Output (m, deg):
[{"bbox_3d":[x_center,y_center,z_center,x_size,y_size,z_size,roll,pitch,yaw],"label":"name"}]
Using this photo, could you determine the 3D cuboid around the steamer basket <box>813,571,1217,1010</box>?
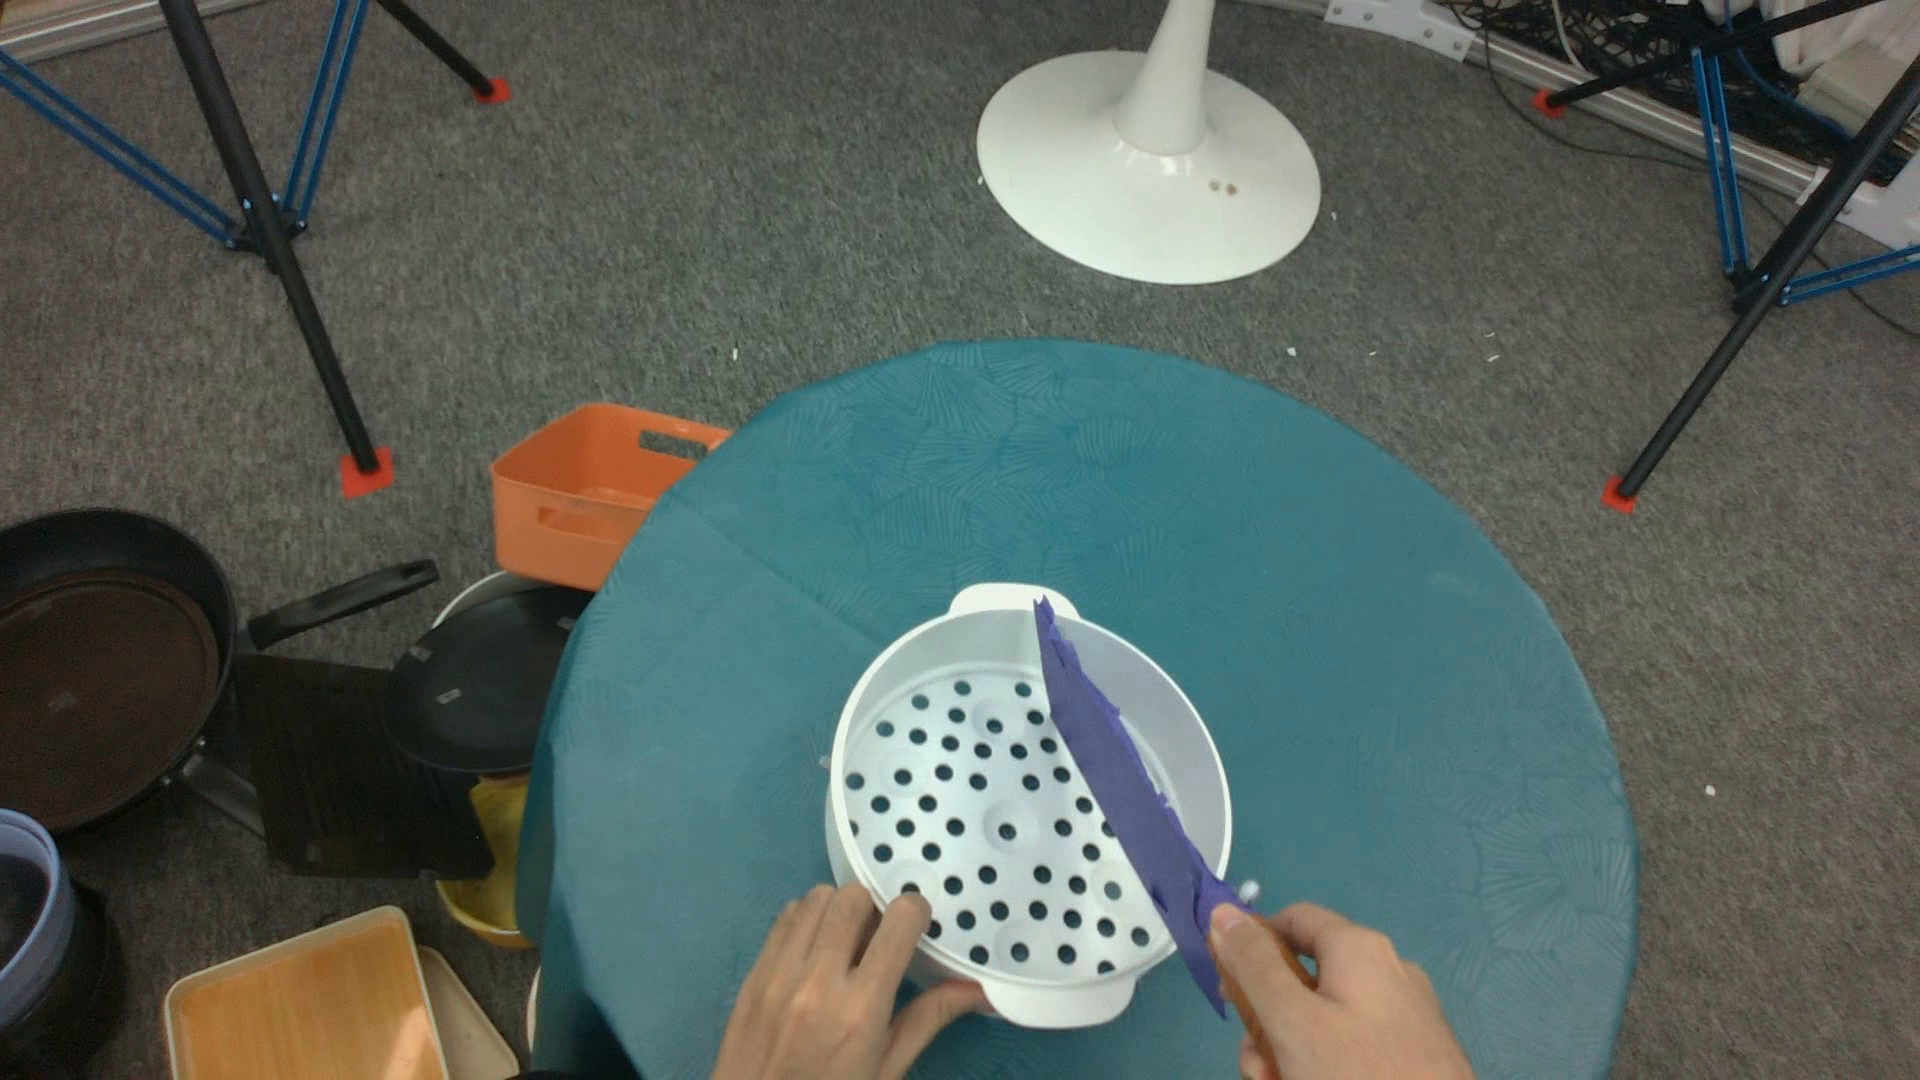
[{"bbox_3d":[0.024,0.128,0.698,0.202,0.069,0.231,2,56,-12],"label":"steamer basket"}]

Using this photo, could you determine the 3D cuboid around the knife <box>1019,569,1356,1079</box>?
[{"bbox_3d":[0.087,0.137,0.608,0.032,0.103,0.316,-17,38,-8],"label":"knife"}]
